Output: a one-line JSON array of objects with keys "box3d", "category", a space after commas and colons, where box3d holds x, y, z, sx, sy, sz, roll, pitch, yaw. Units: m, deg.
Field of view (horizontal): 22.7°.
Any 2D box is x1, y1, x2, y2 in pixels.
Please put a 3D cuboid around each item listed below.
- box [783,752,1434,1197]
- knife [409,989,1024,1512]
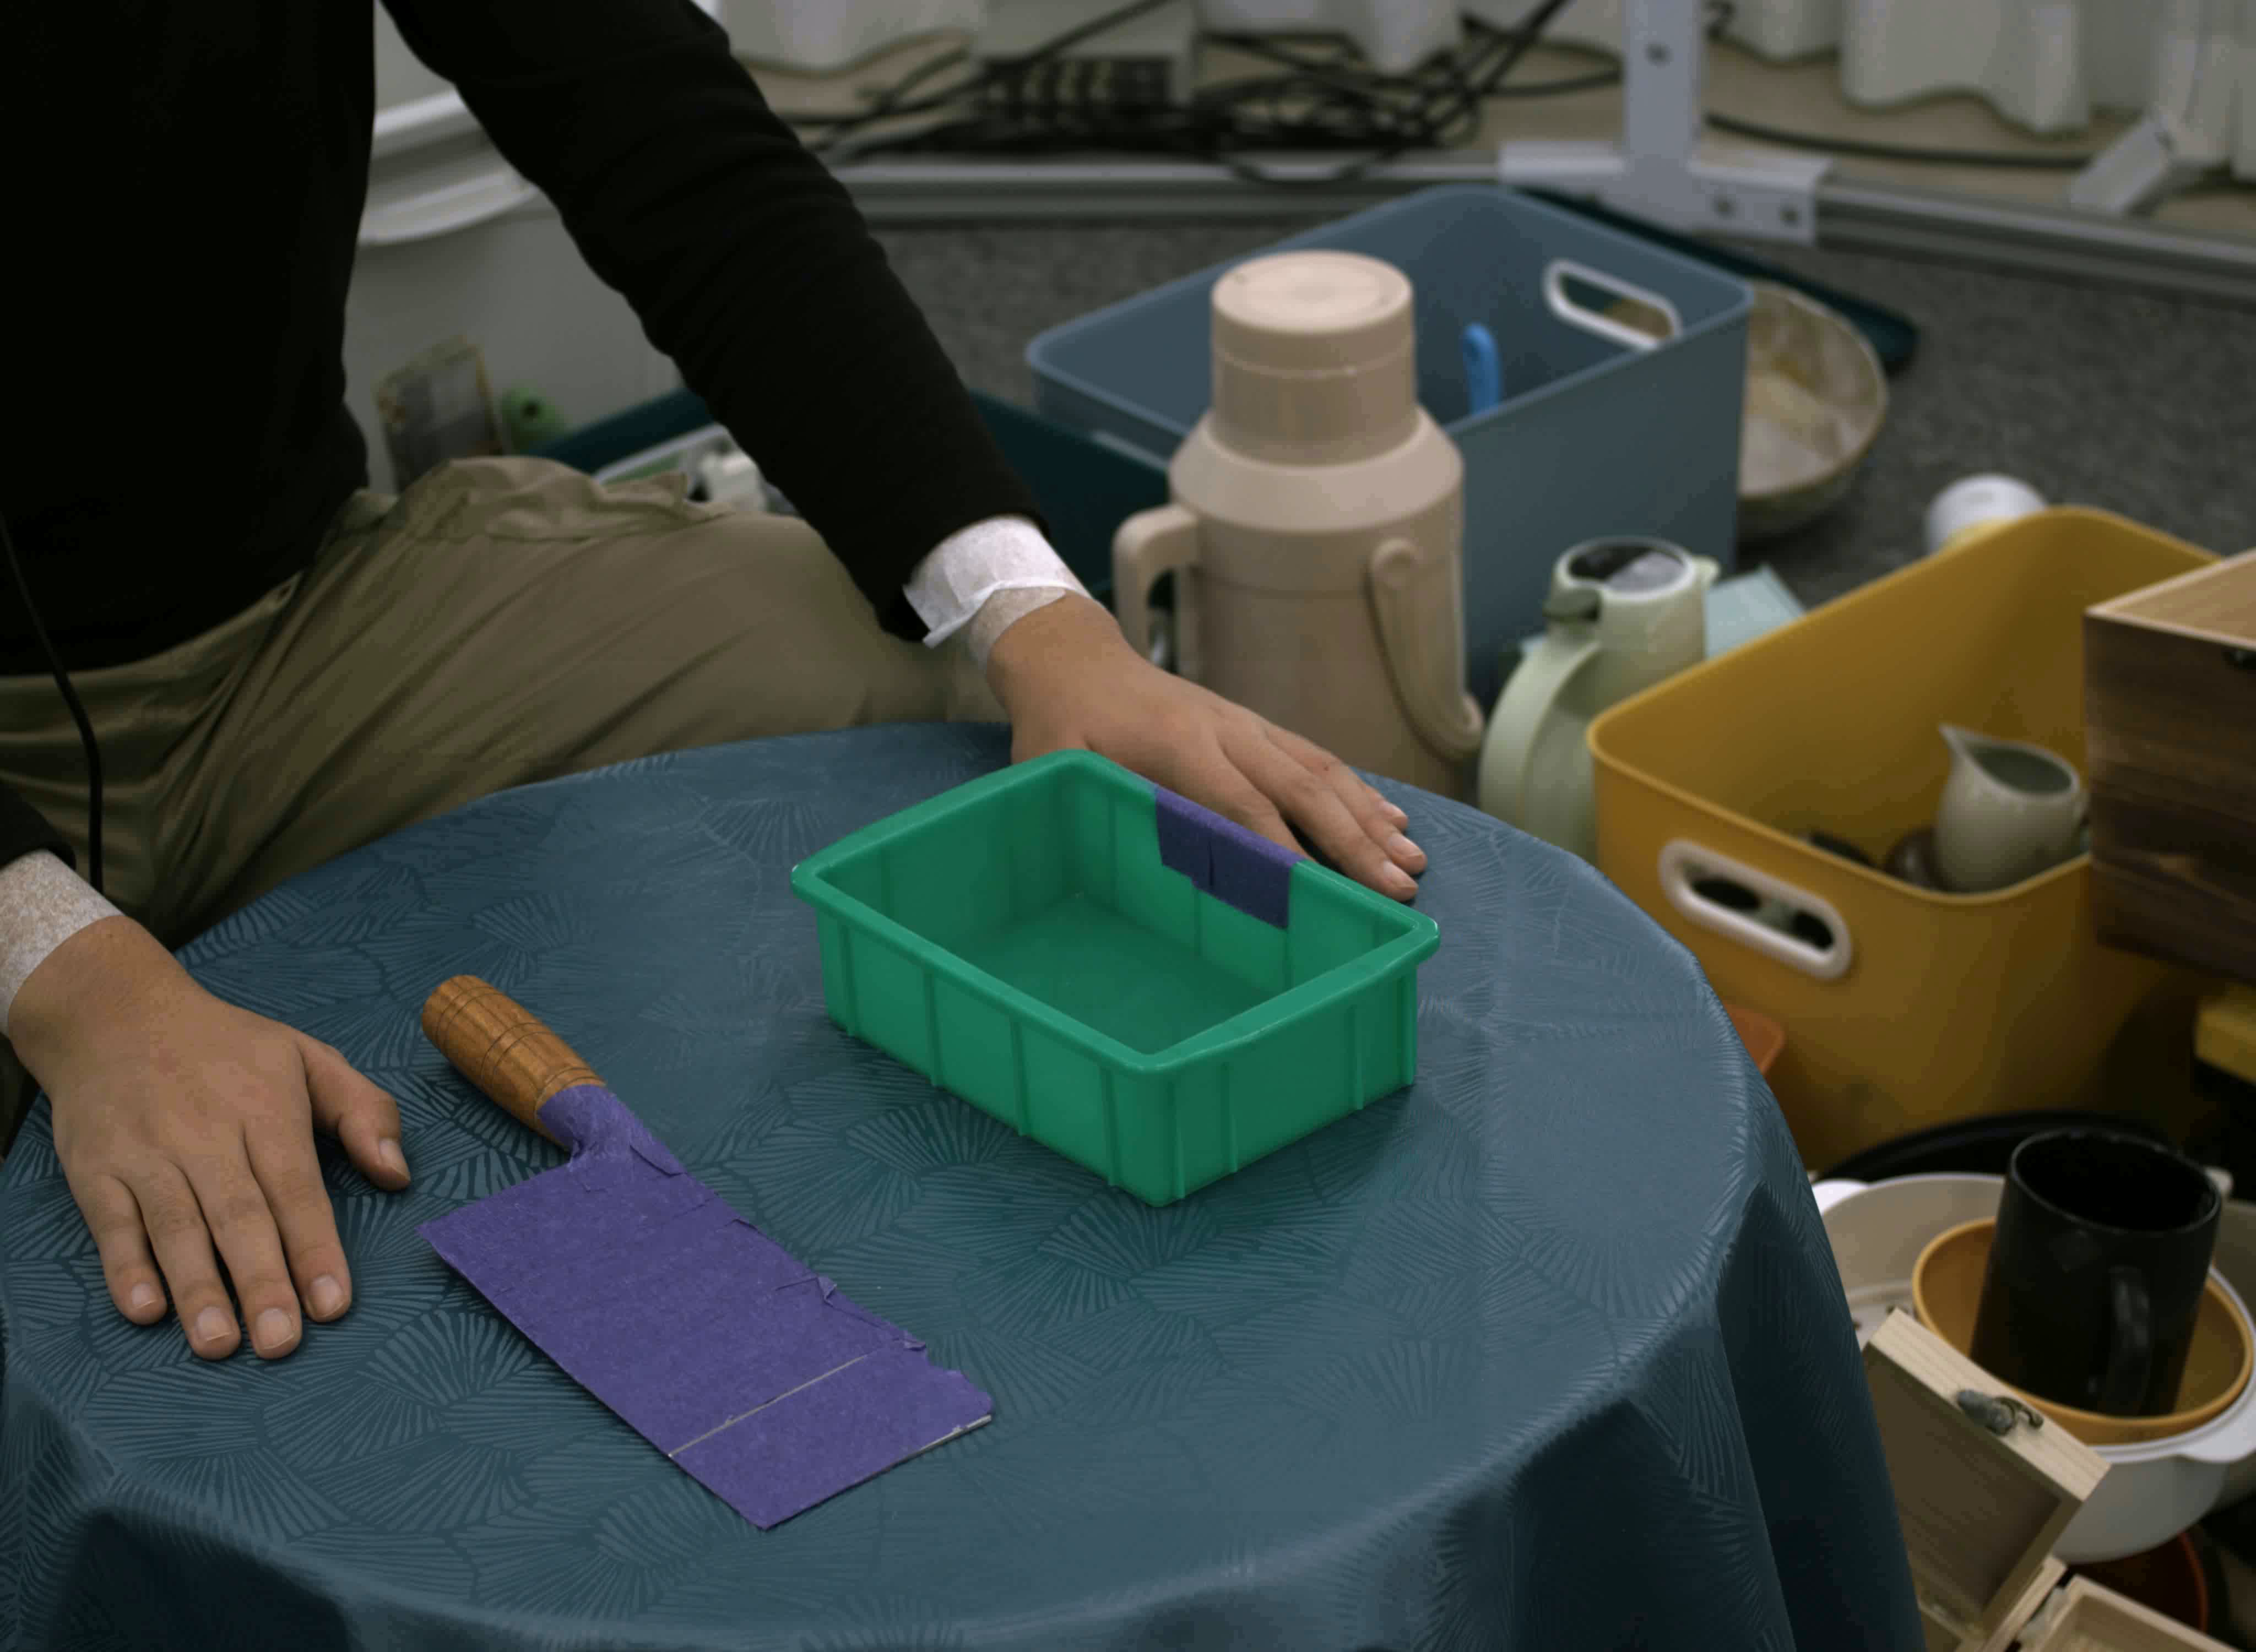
[{"box3d": [-0.007, 0.051, 1.932, 0.140, 0.064, 0.210, -23, 31, -36], "category": "box"}, {"box3d": [-0.166, 0.134, 1.825, 0.105, 0.032, 0.315, -22, 33, -32], "category": "knife"}]
